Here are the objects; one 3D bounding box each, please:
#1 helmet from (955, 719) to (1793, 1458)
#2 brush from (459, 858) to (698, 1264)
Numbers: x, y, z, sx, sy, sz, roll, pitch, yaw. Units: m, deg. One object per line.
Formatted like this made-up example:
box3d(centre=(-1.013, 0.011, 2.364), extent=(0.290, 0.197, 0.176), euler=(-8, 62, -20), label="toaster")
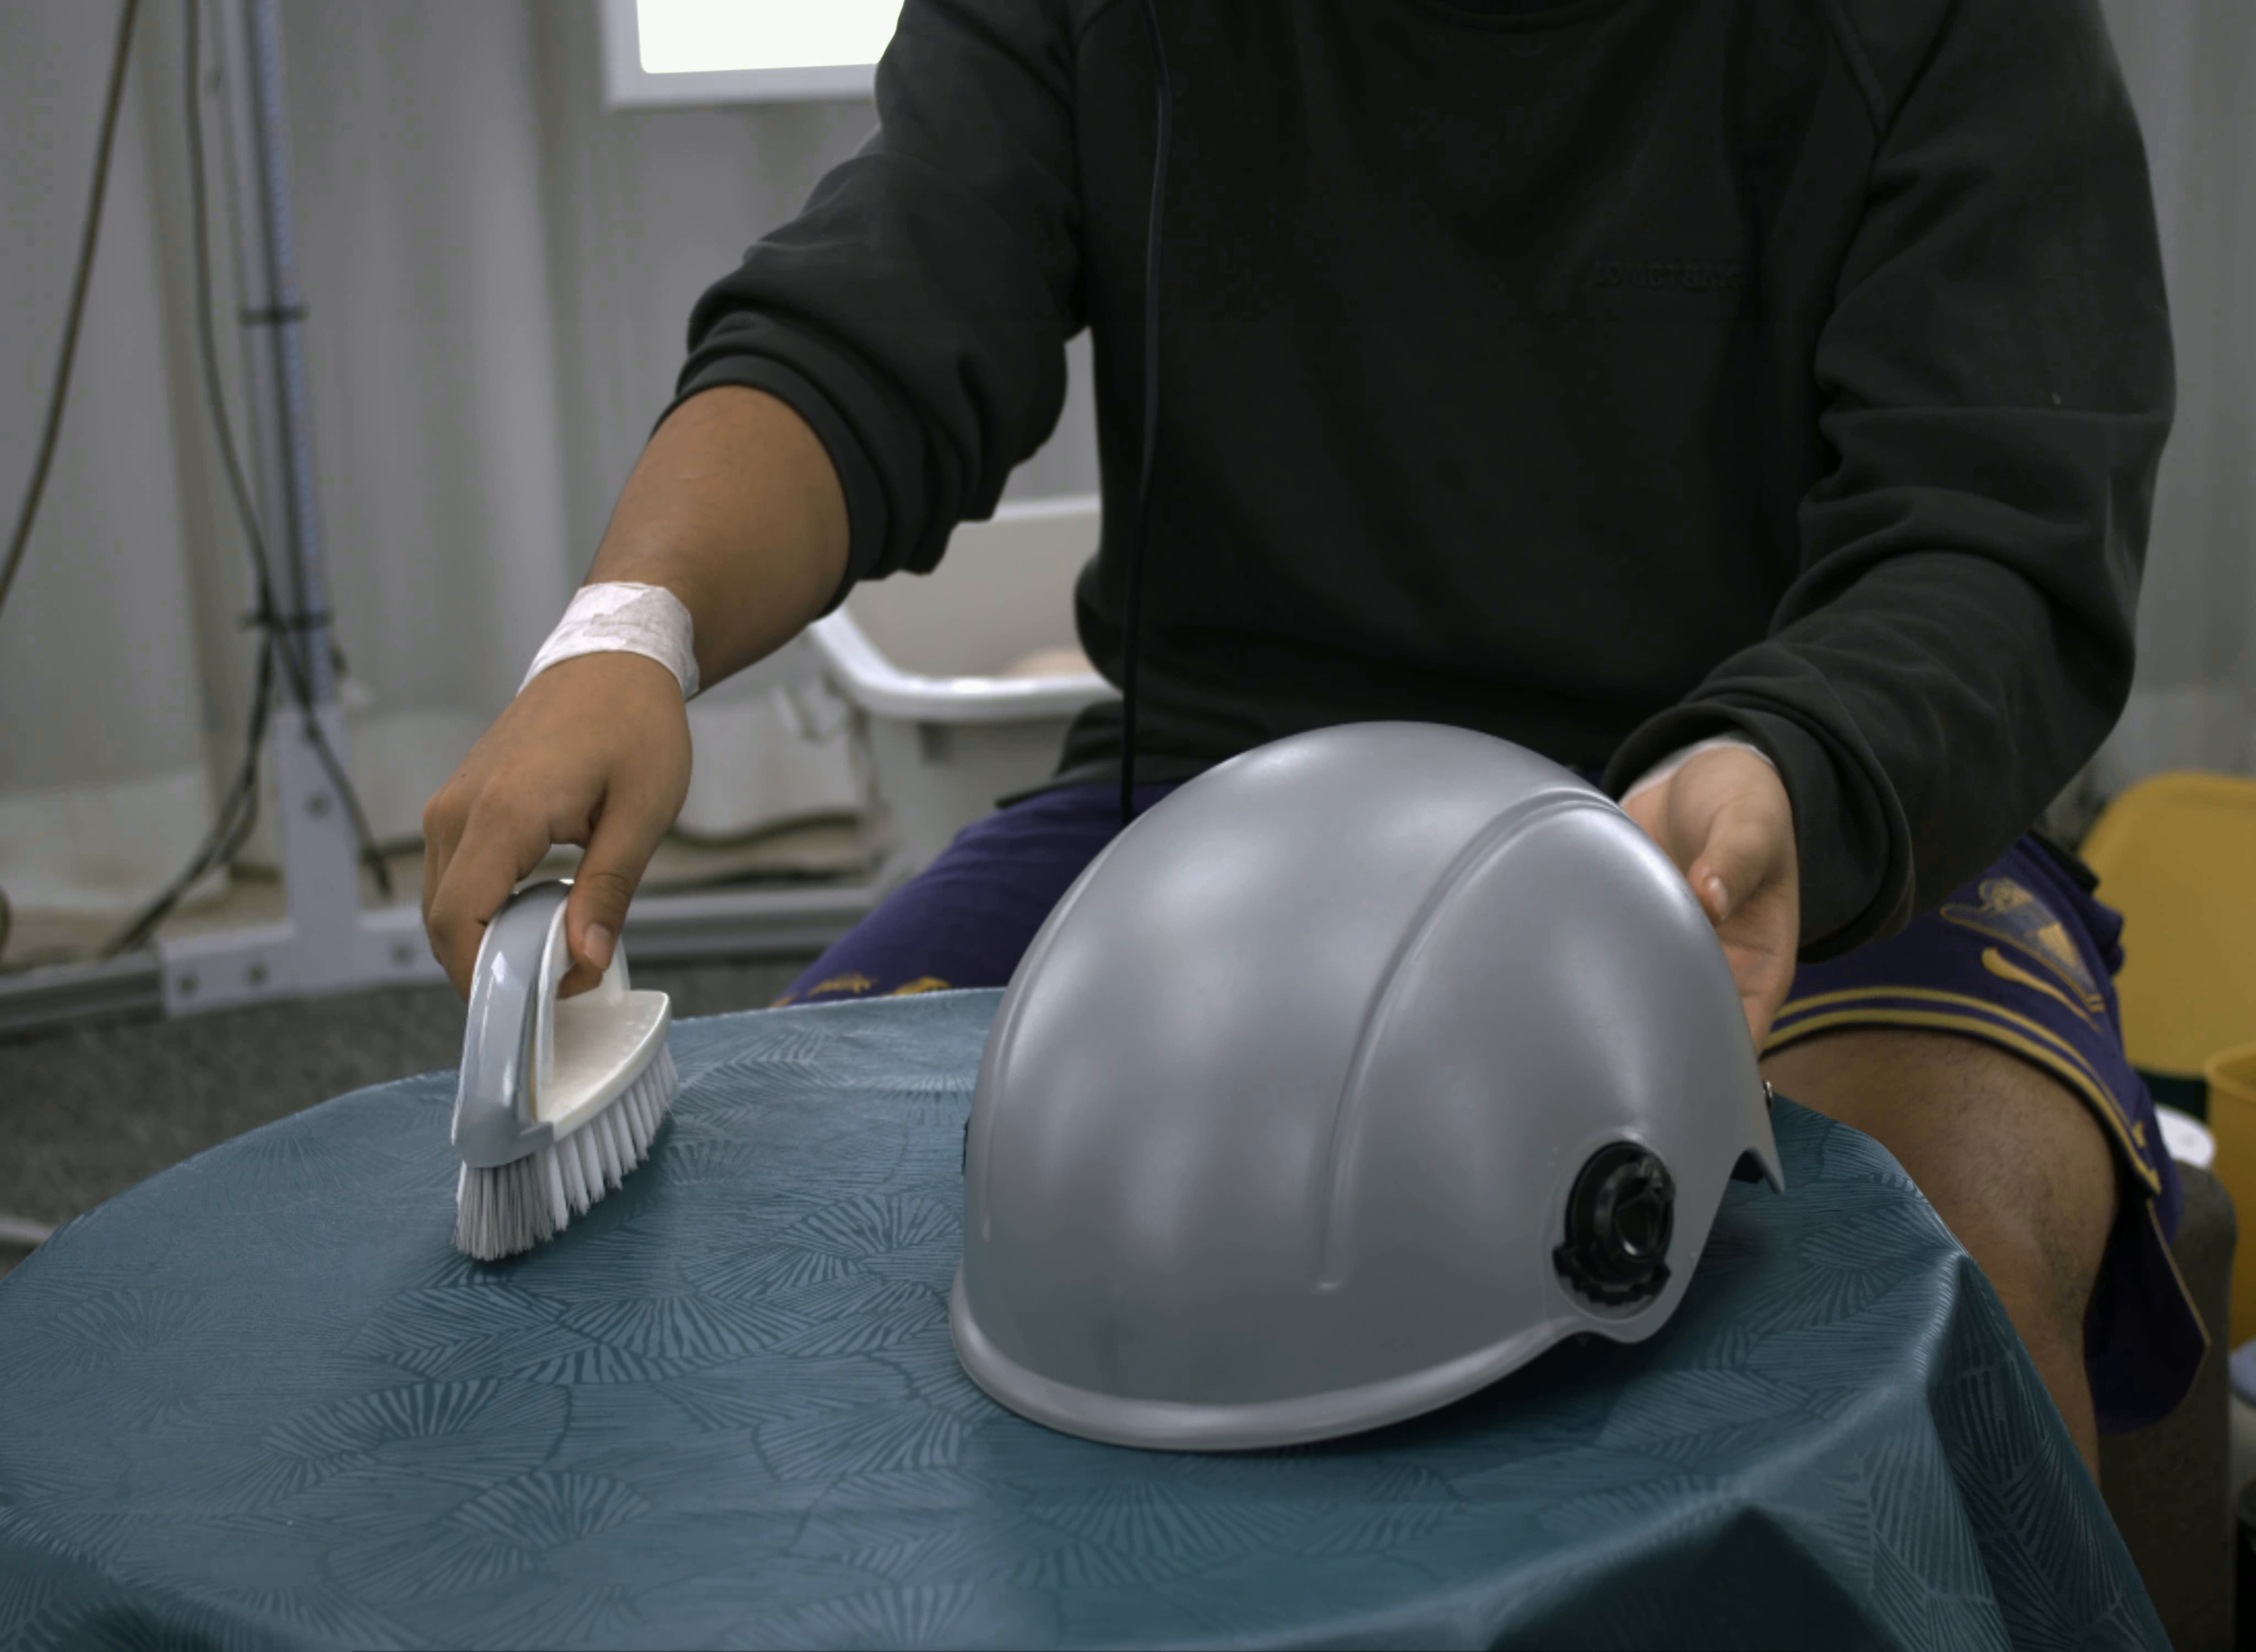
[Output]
box3d(centre=(0.064, 0.060, 1.594), extent=(0.232, 0.168, 0.276), euler=(4, 18, 33), label="helmet")
box3d(centre=(-0.184, 0.069, 1.744), extent=(0.061, 0.094, 0.177), euler=(-3, 18, 10), label="brush")
